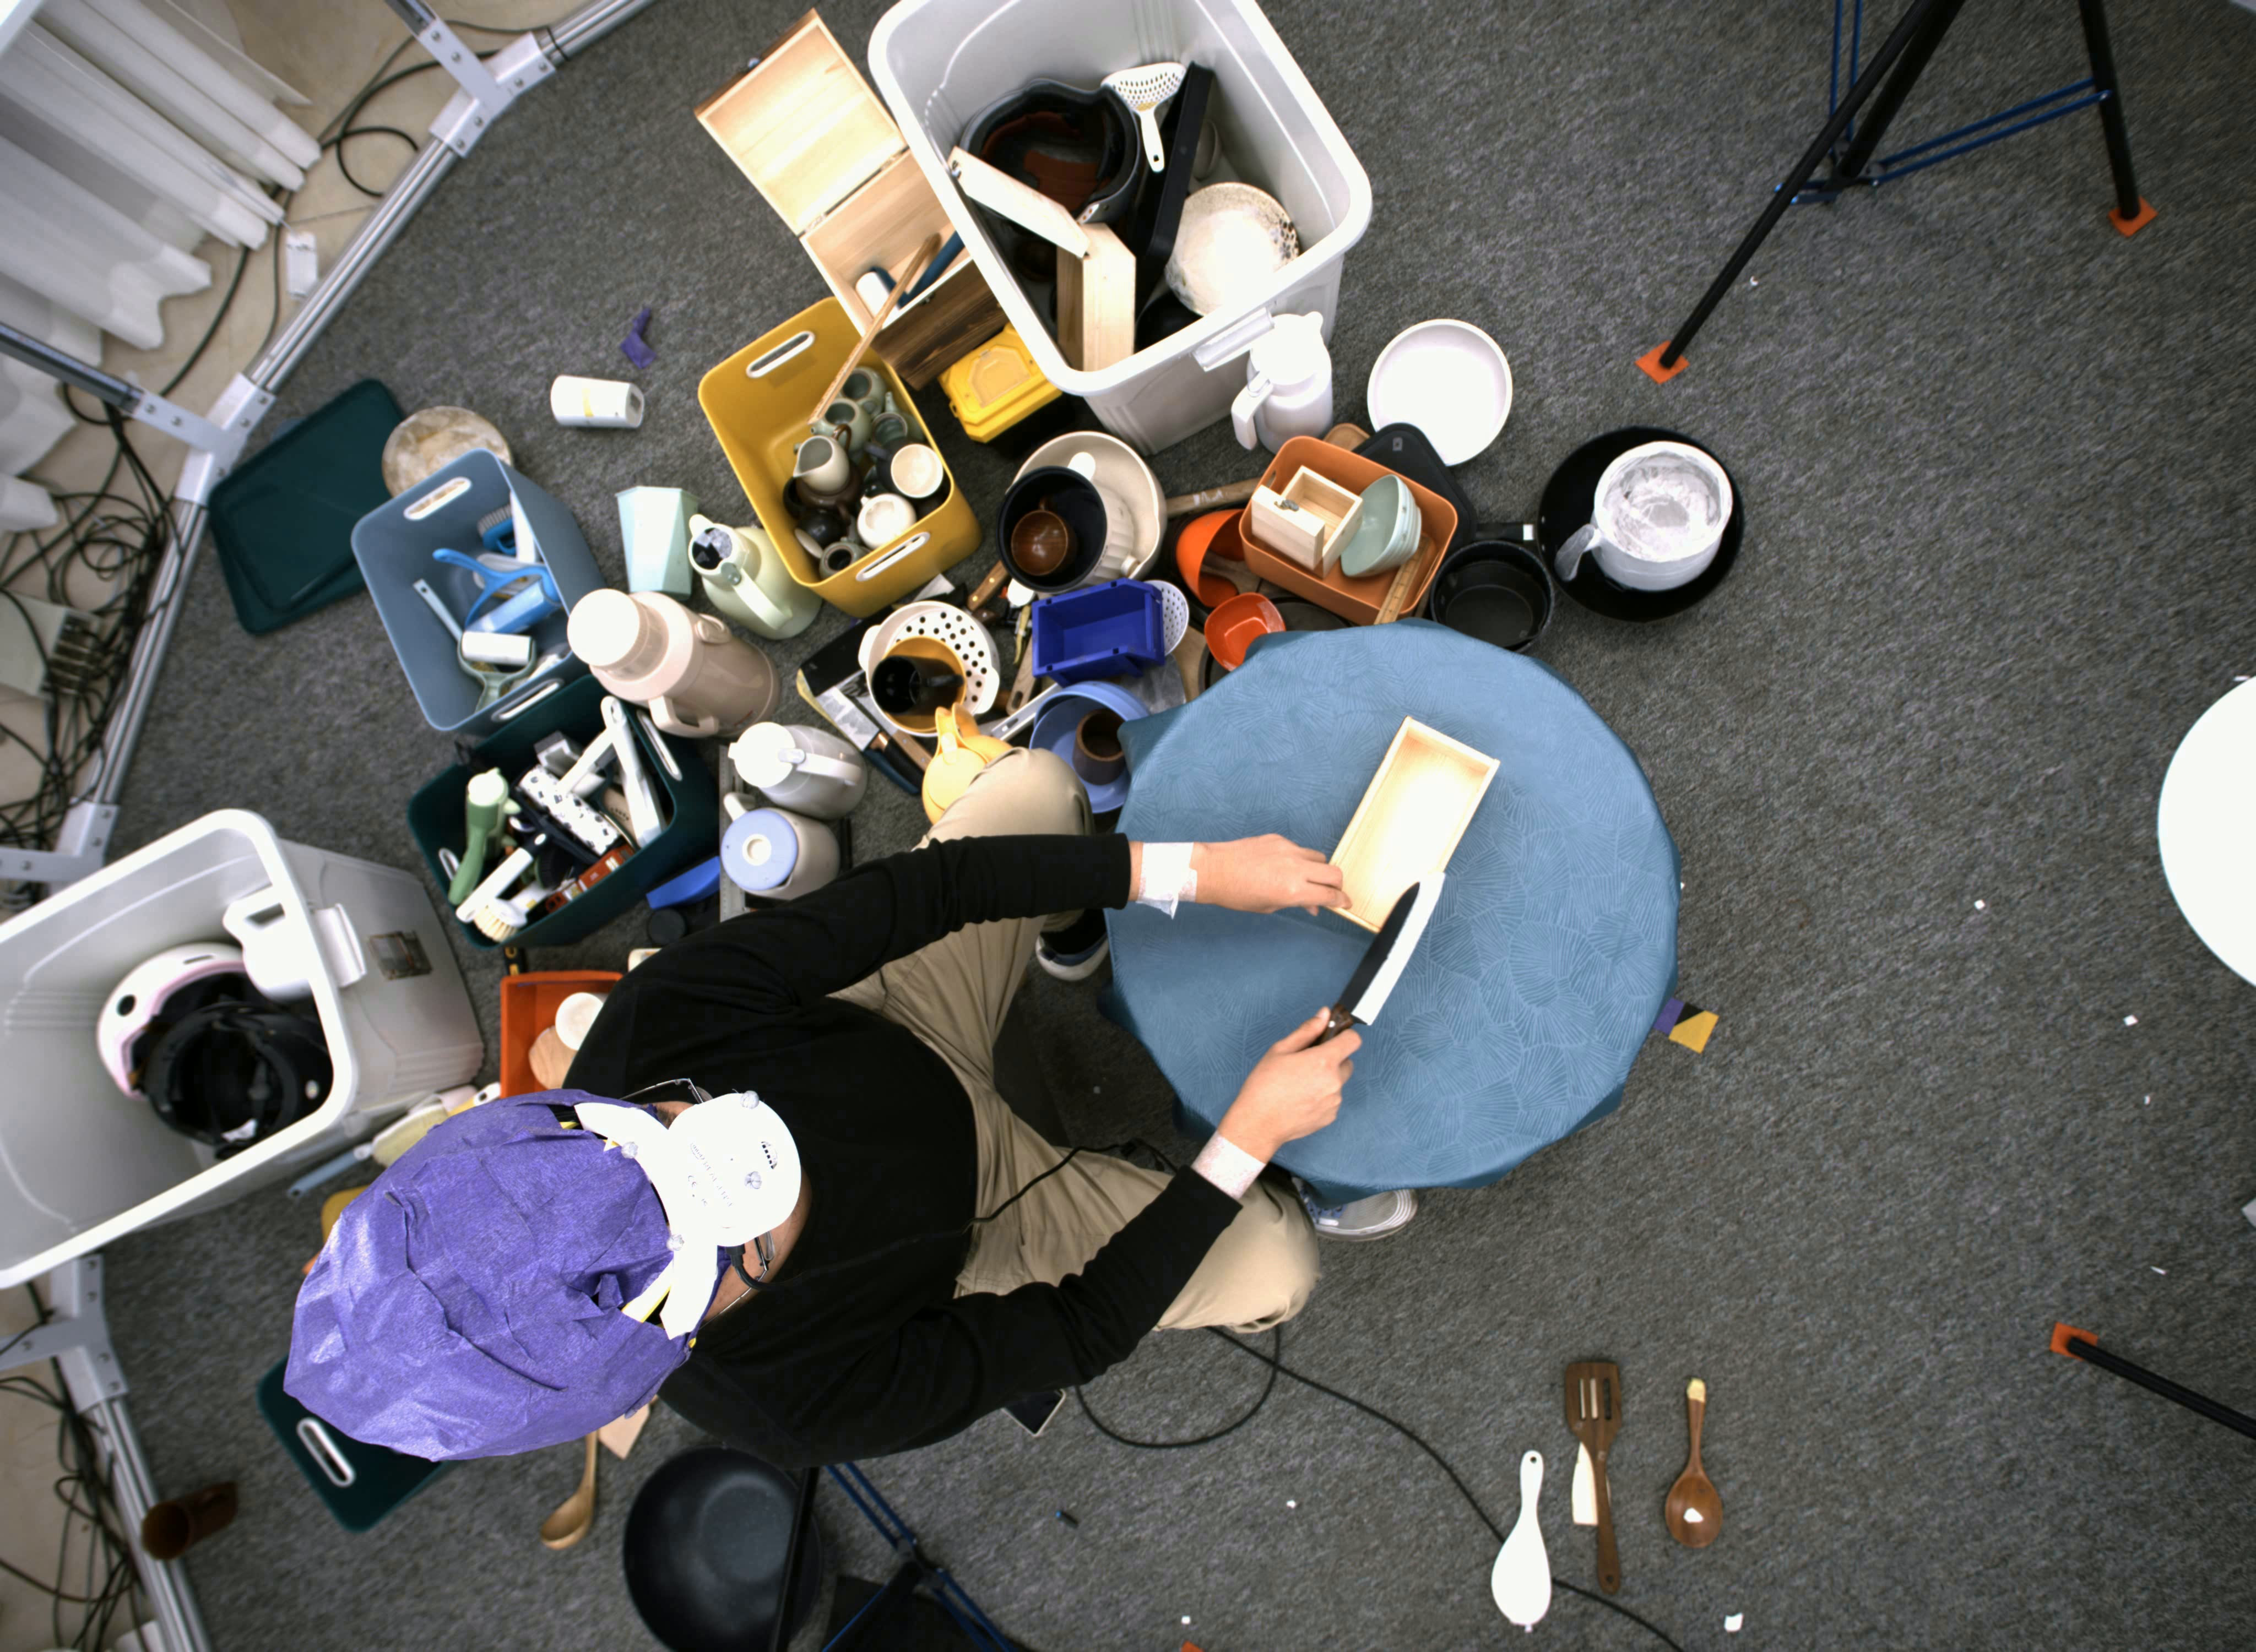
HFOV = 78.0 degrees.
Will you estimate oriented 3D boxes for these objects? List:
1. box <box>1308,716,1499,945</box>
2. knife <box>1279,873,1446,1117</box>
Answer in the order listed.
[{"bbox_3d":[0.283,0.007,1.421,0.107,0.080,0.211,28,91,12],"label":"box"},{"bbox_3d":[0.234,0.166,1.368,0.050,0.020,0.289,33,91,39],"label":"knife"}]
